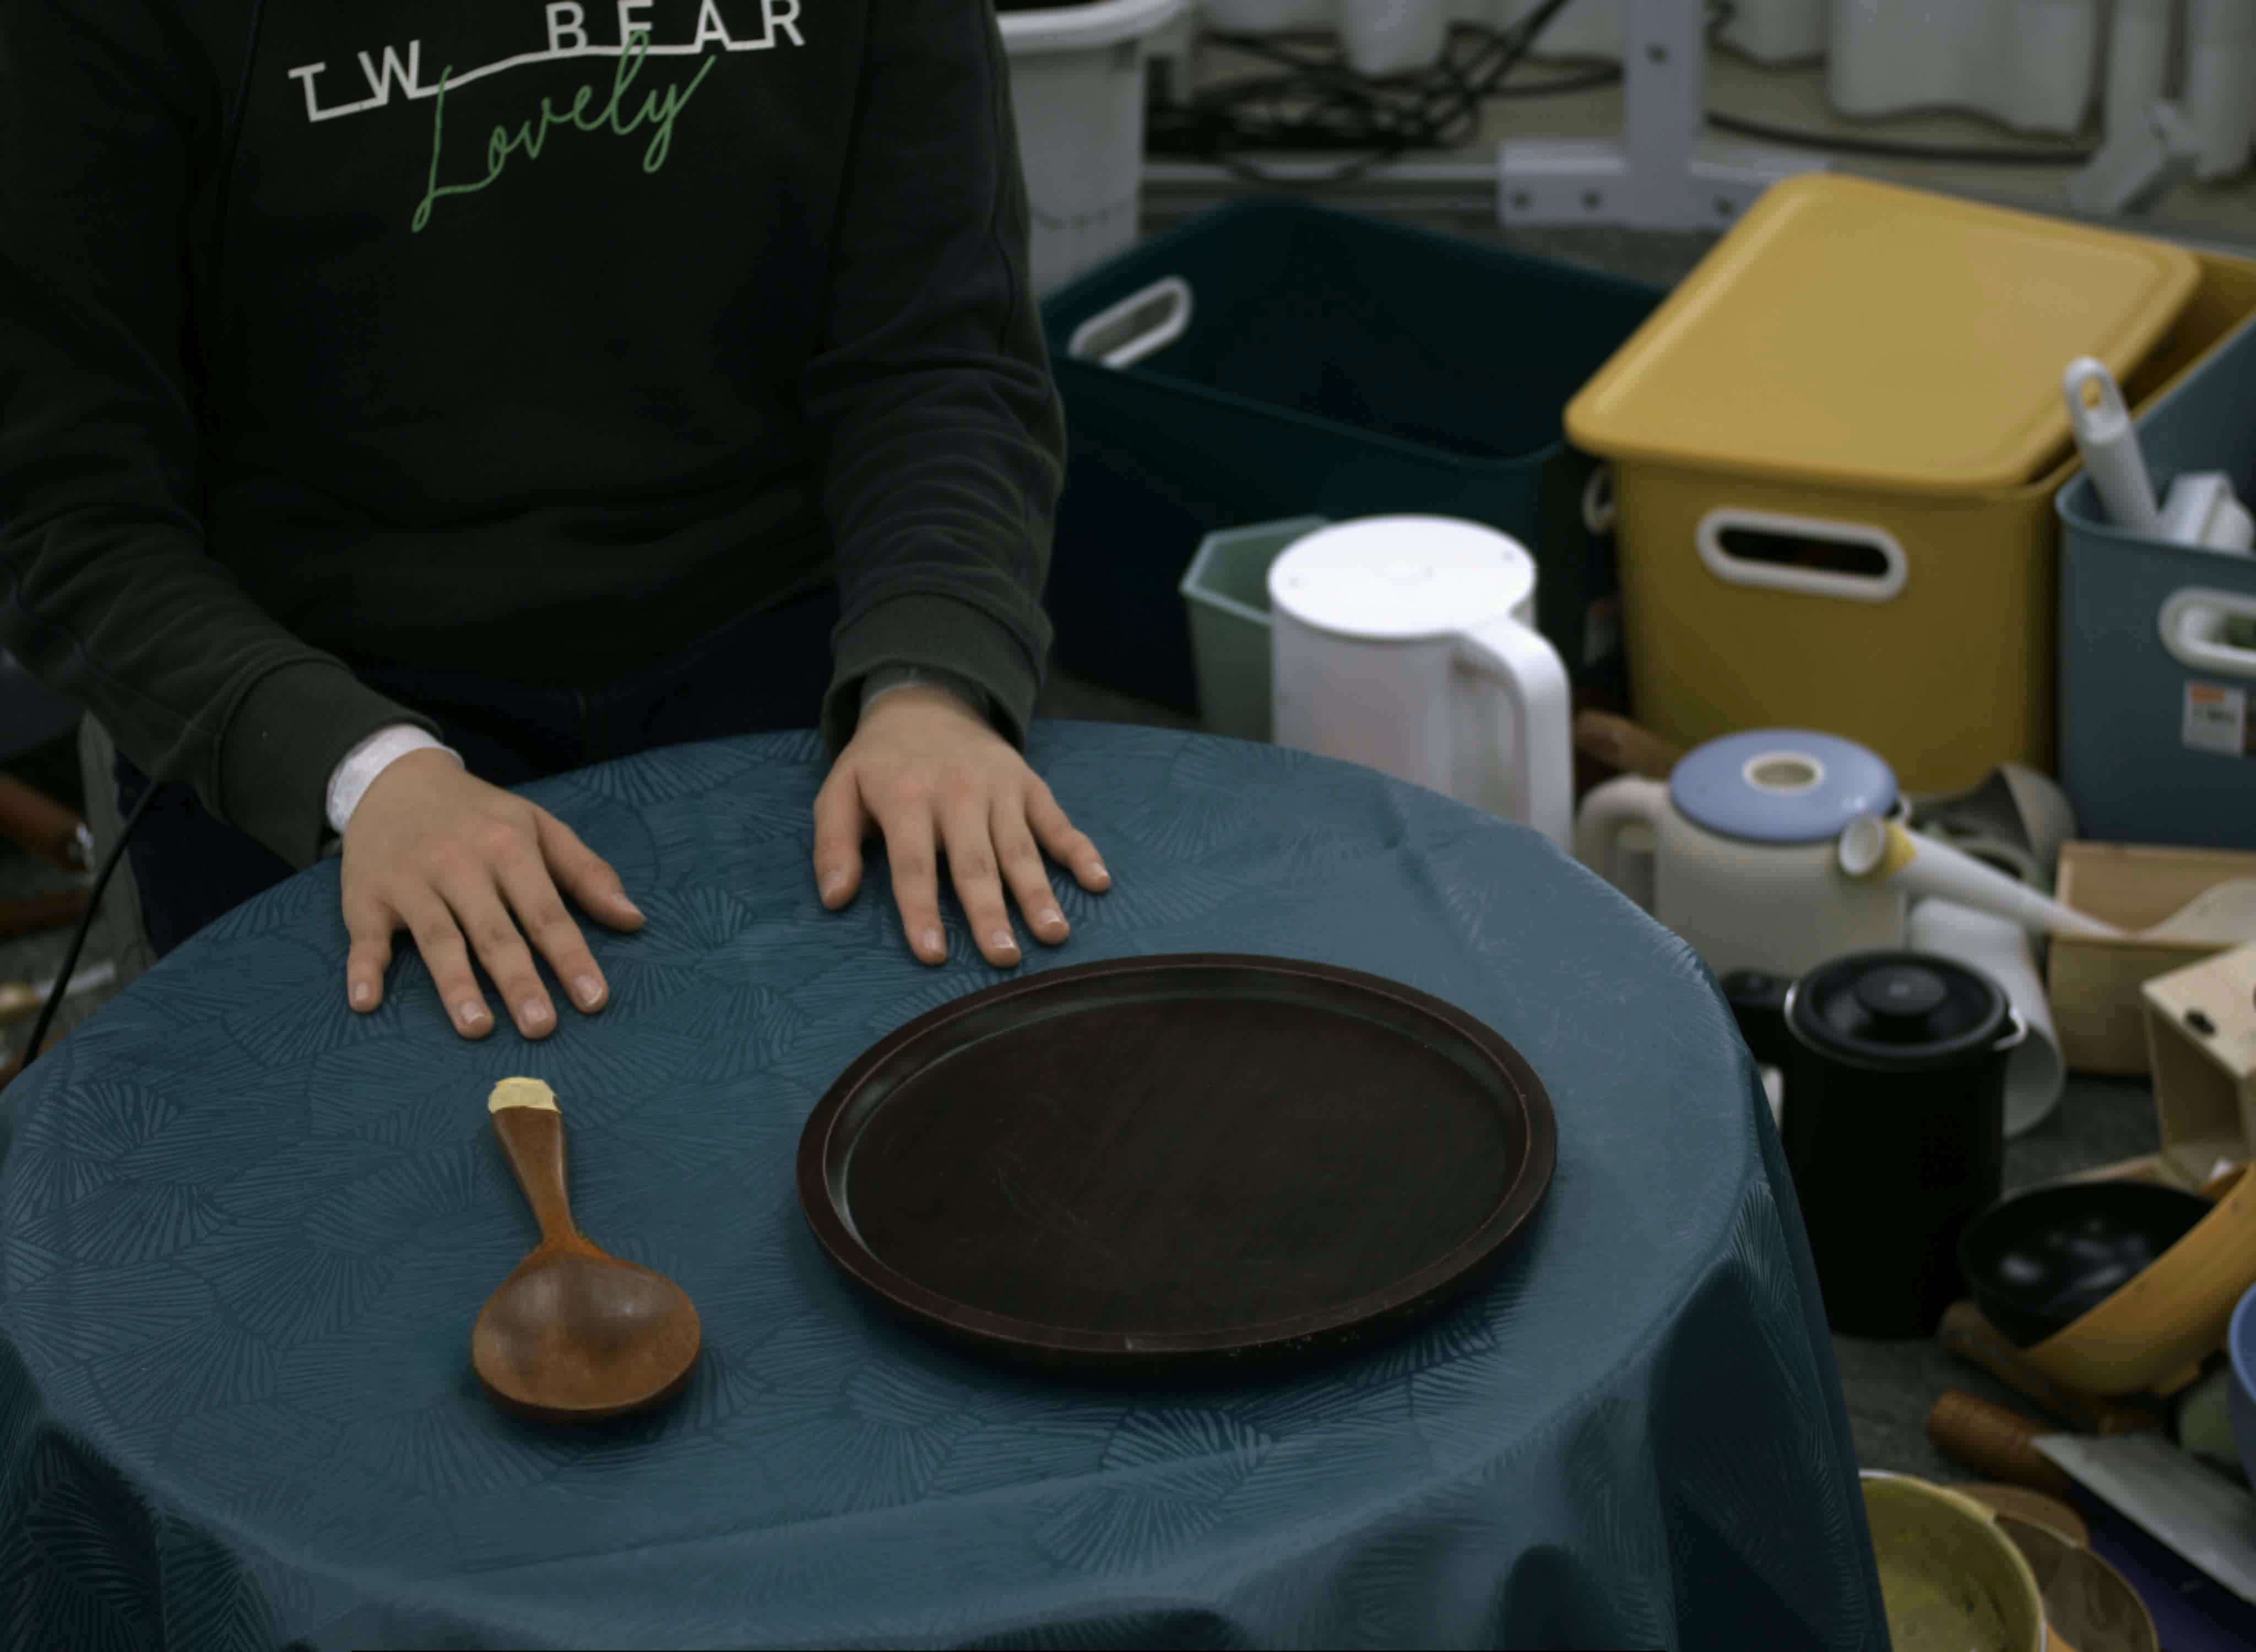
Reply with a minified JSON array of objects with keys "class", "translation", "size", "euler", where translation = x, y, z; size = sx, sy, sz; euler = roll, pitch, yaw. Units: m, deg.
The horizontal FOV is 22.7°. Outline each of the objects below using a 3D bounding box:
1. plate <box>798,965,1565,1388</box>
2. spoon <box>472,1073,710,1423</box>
[{"class":"plate","translation":[0.017,0.113,1.852],"size":[0.253,0.029,0.259],"euler":[-1,28,1]},{"class":"spoon","translation":[-0.184,0.138,1.829],"size":[0.075,0.017,0.218],"euler":[-9,28,-10]}]
